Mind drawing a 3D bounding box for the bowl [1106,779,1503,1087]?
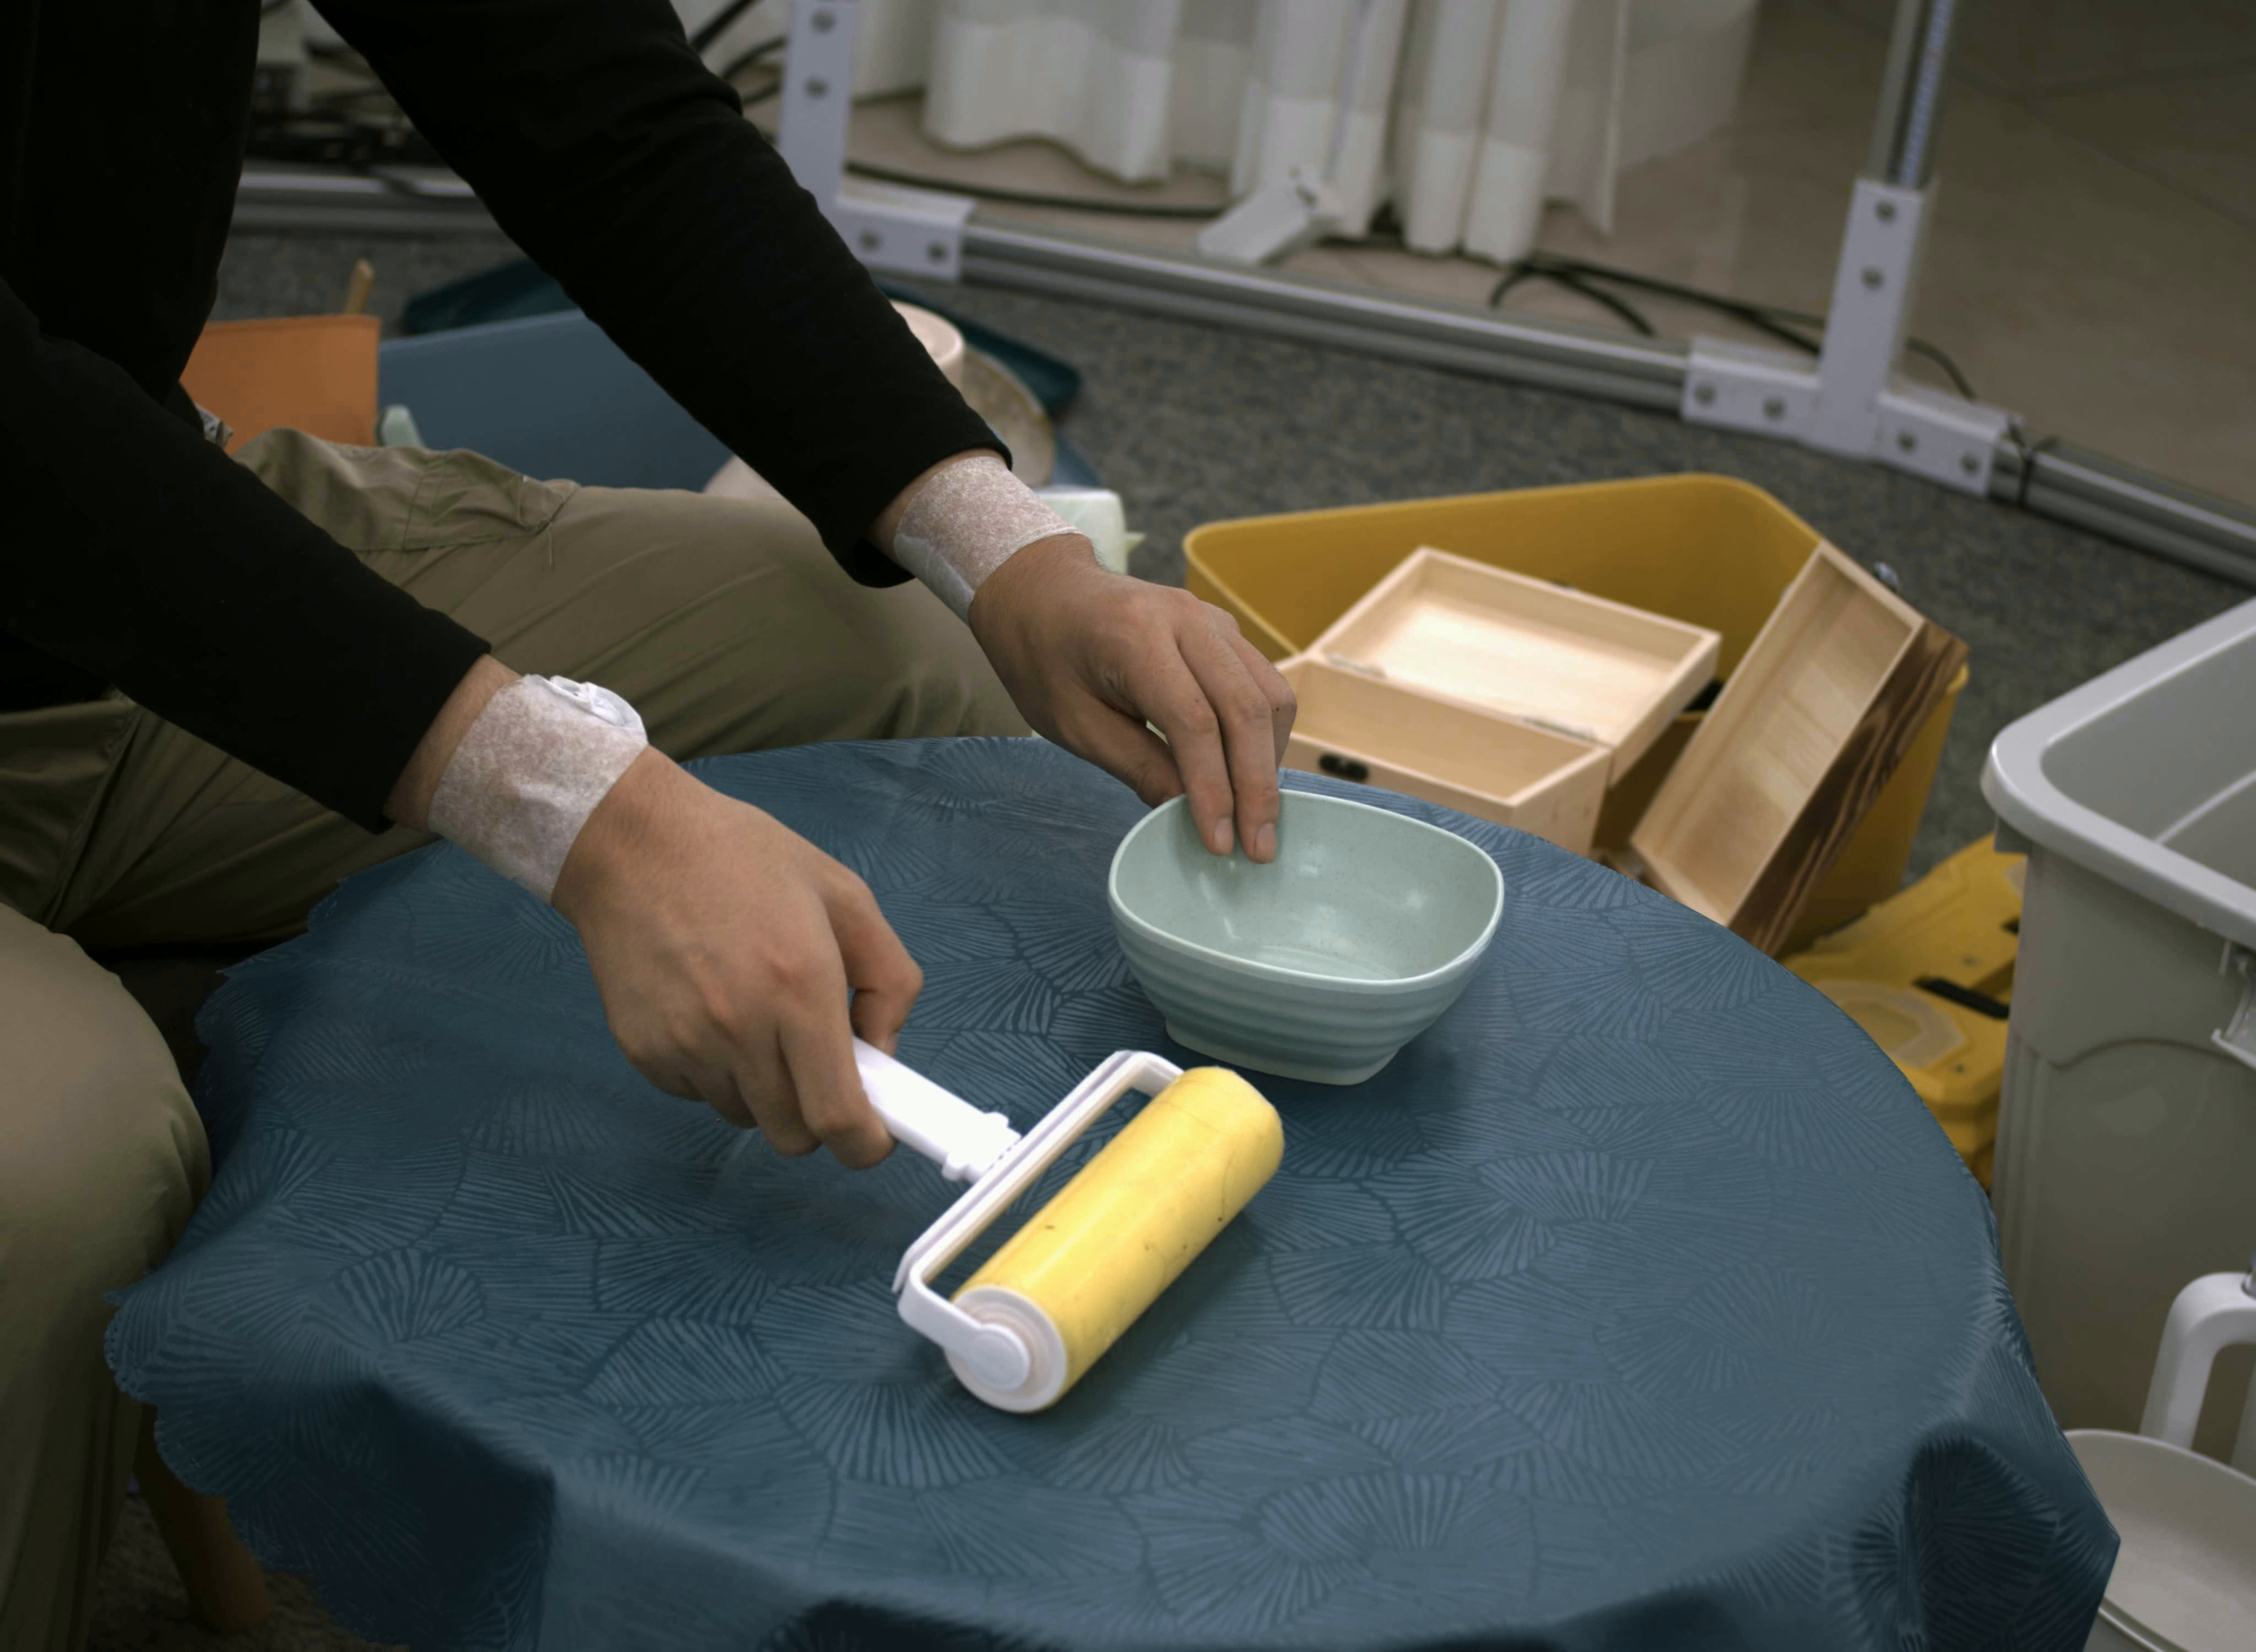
[{"bbox_3d":[0.060,0.044,1.908,0.151,0.058,0.152,6,28,-4],"label":"bowl"}]

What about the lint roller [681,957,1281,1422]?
[{"bbox_3d":[-0.061,0.093,1.738,0.192,0.051,0.174,38,35,7],"label":"lint roller"}]
